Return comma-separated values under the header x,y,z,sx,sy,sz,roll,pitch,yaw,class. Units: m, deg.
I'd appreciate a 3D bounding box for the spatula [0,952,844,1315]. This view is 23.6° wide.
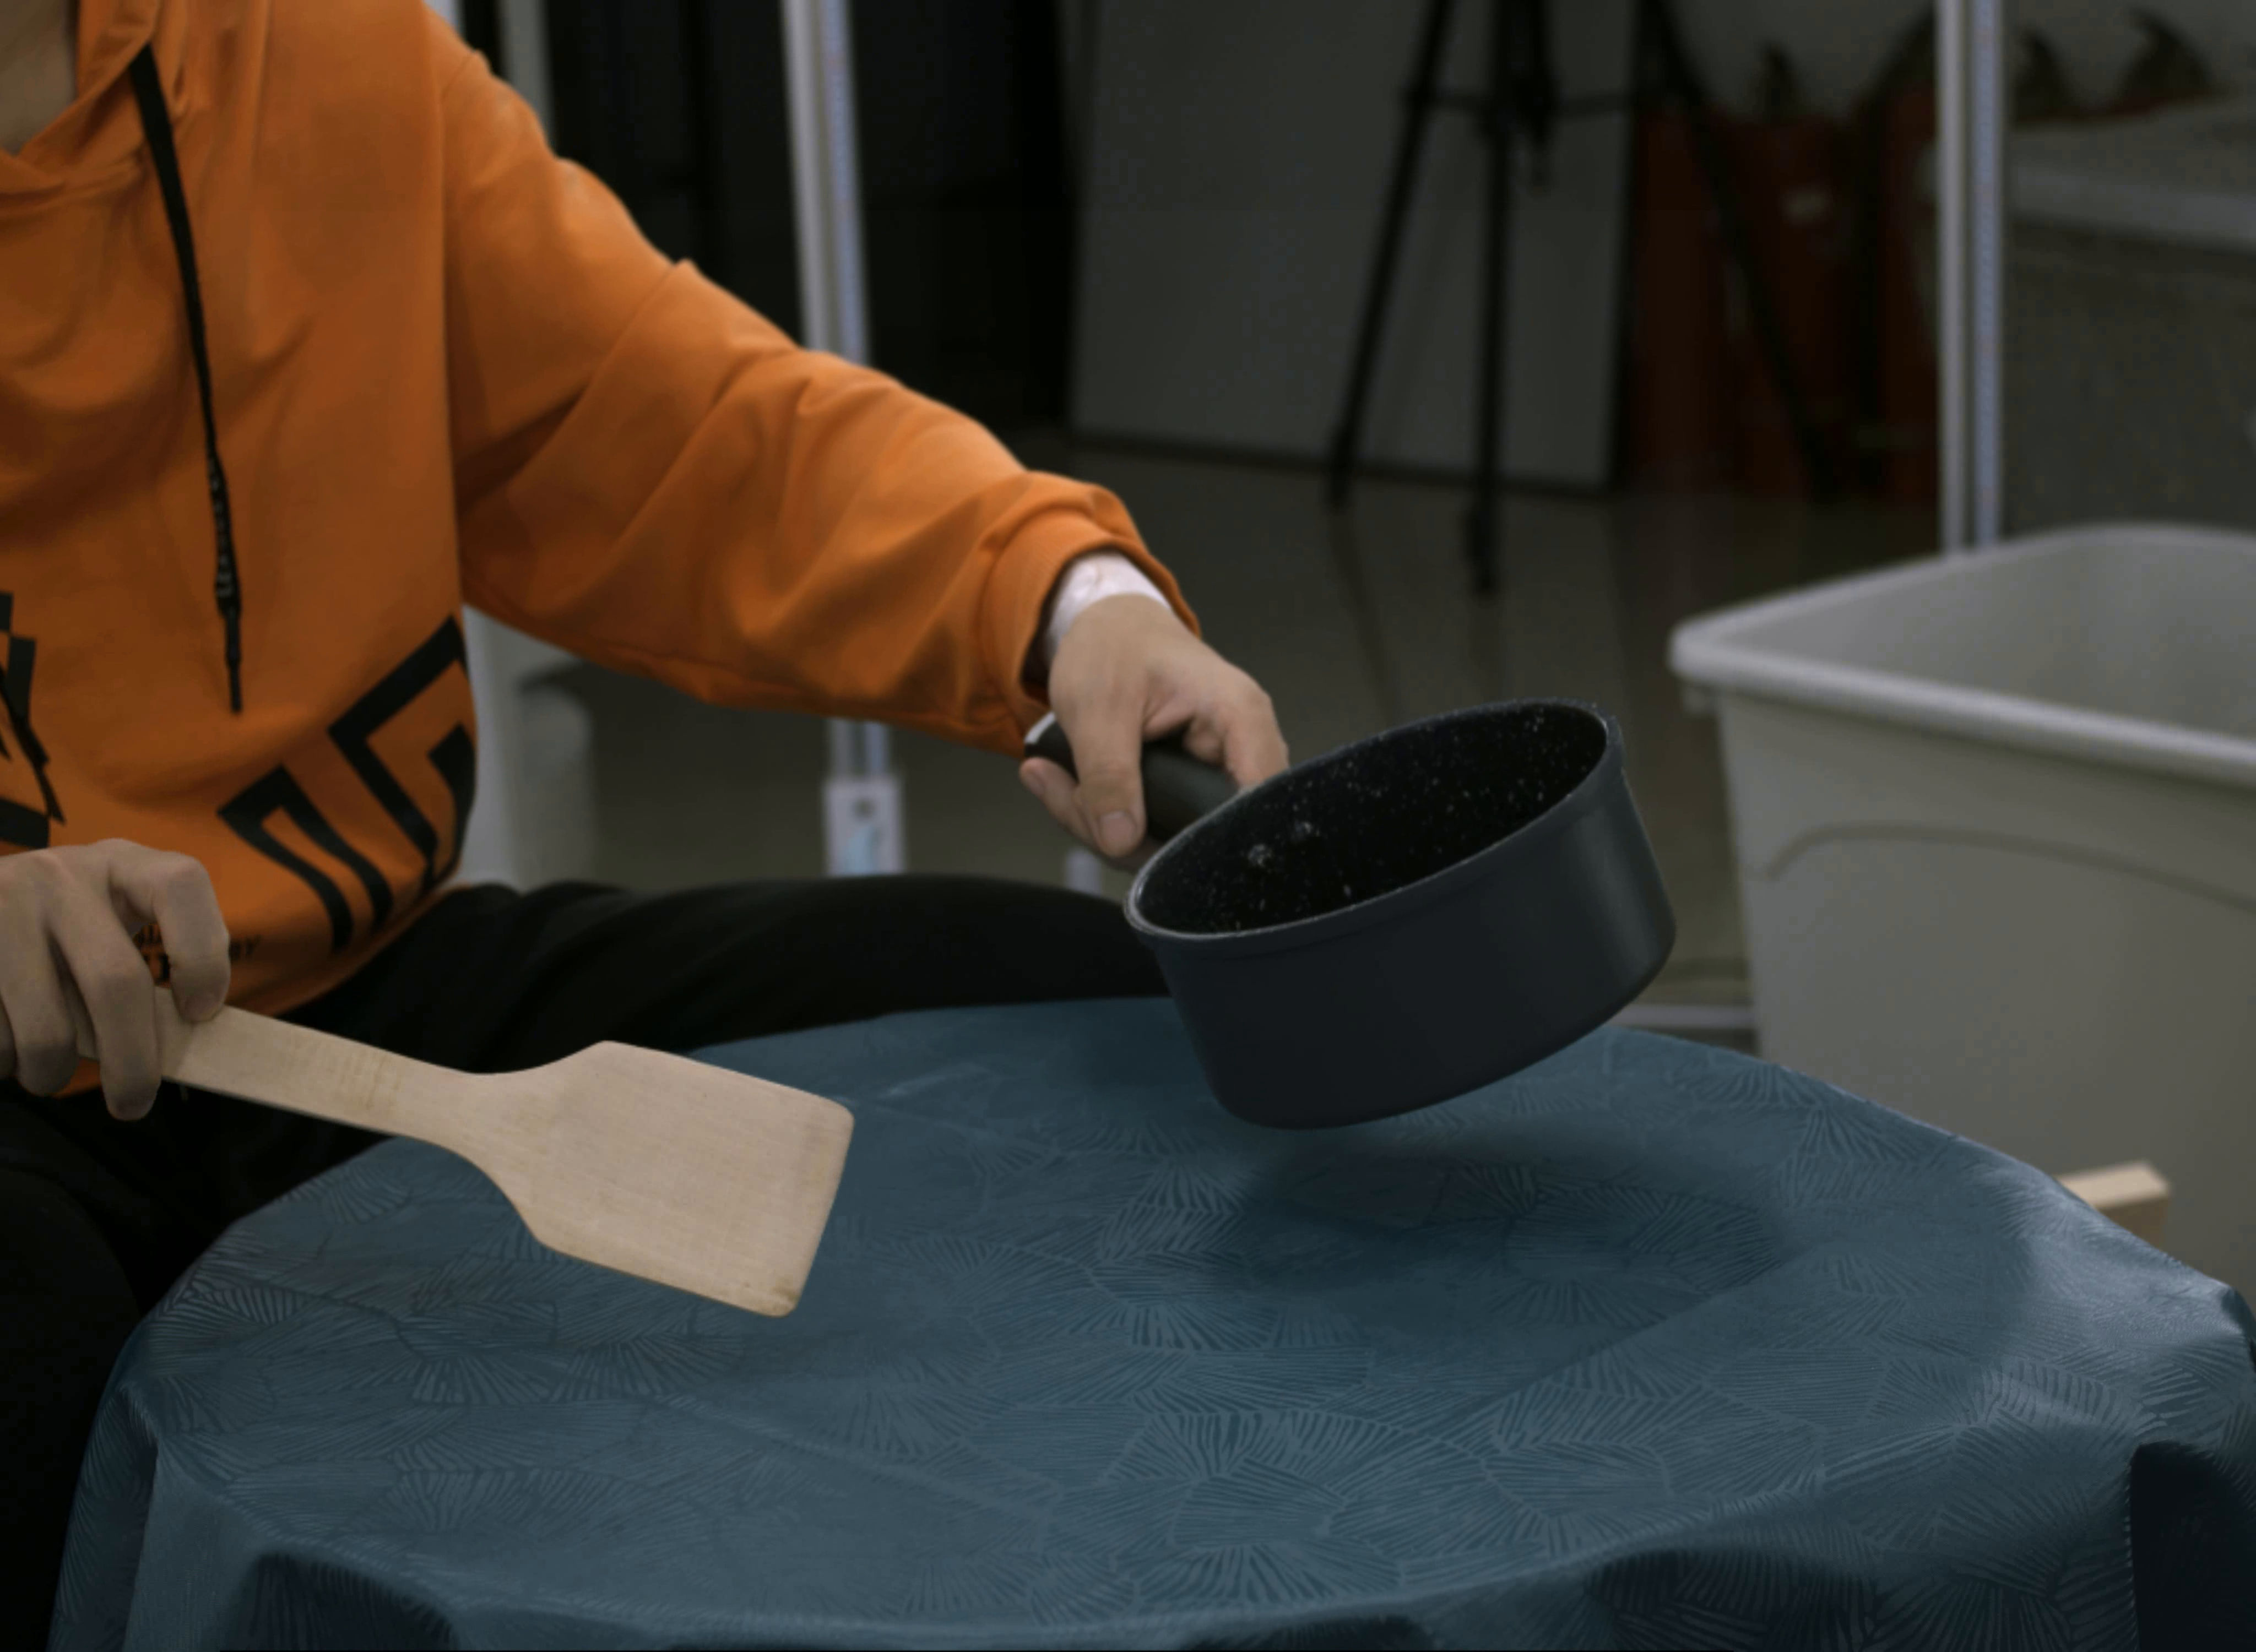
x,y,z,sx,sy,sz,roll,pitch,yaw,class
-0.229,0.081,1.658,0.292,0.073,0.010,13,-14,16,spatula

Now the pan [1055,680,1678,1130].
x,y,z,sx,sy,sz,roll,pitch,yaw,class
0.059,0.014,1.811,0.169,0.087,0.332,-27,17,-17,pan
